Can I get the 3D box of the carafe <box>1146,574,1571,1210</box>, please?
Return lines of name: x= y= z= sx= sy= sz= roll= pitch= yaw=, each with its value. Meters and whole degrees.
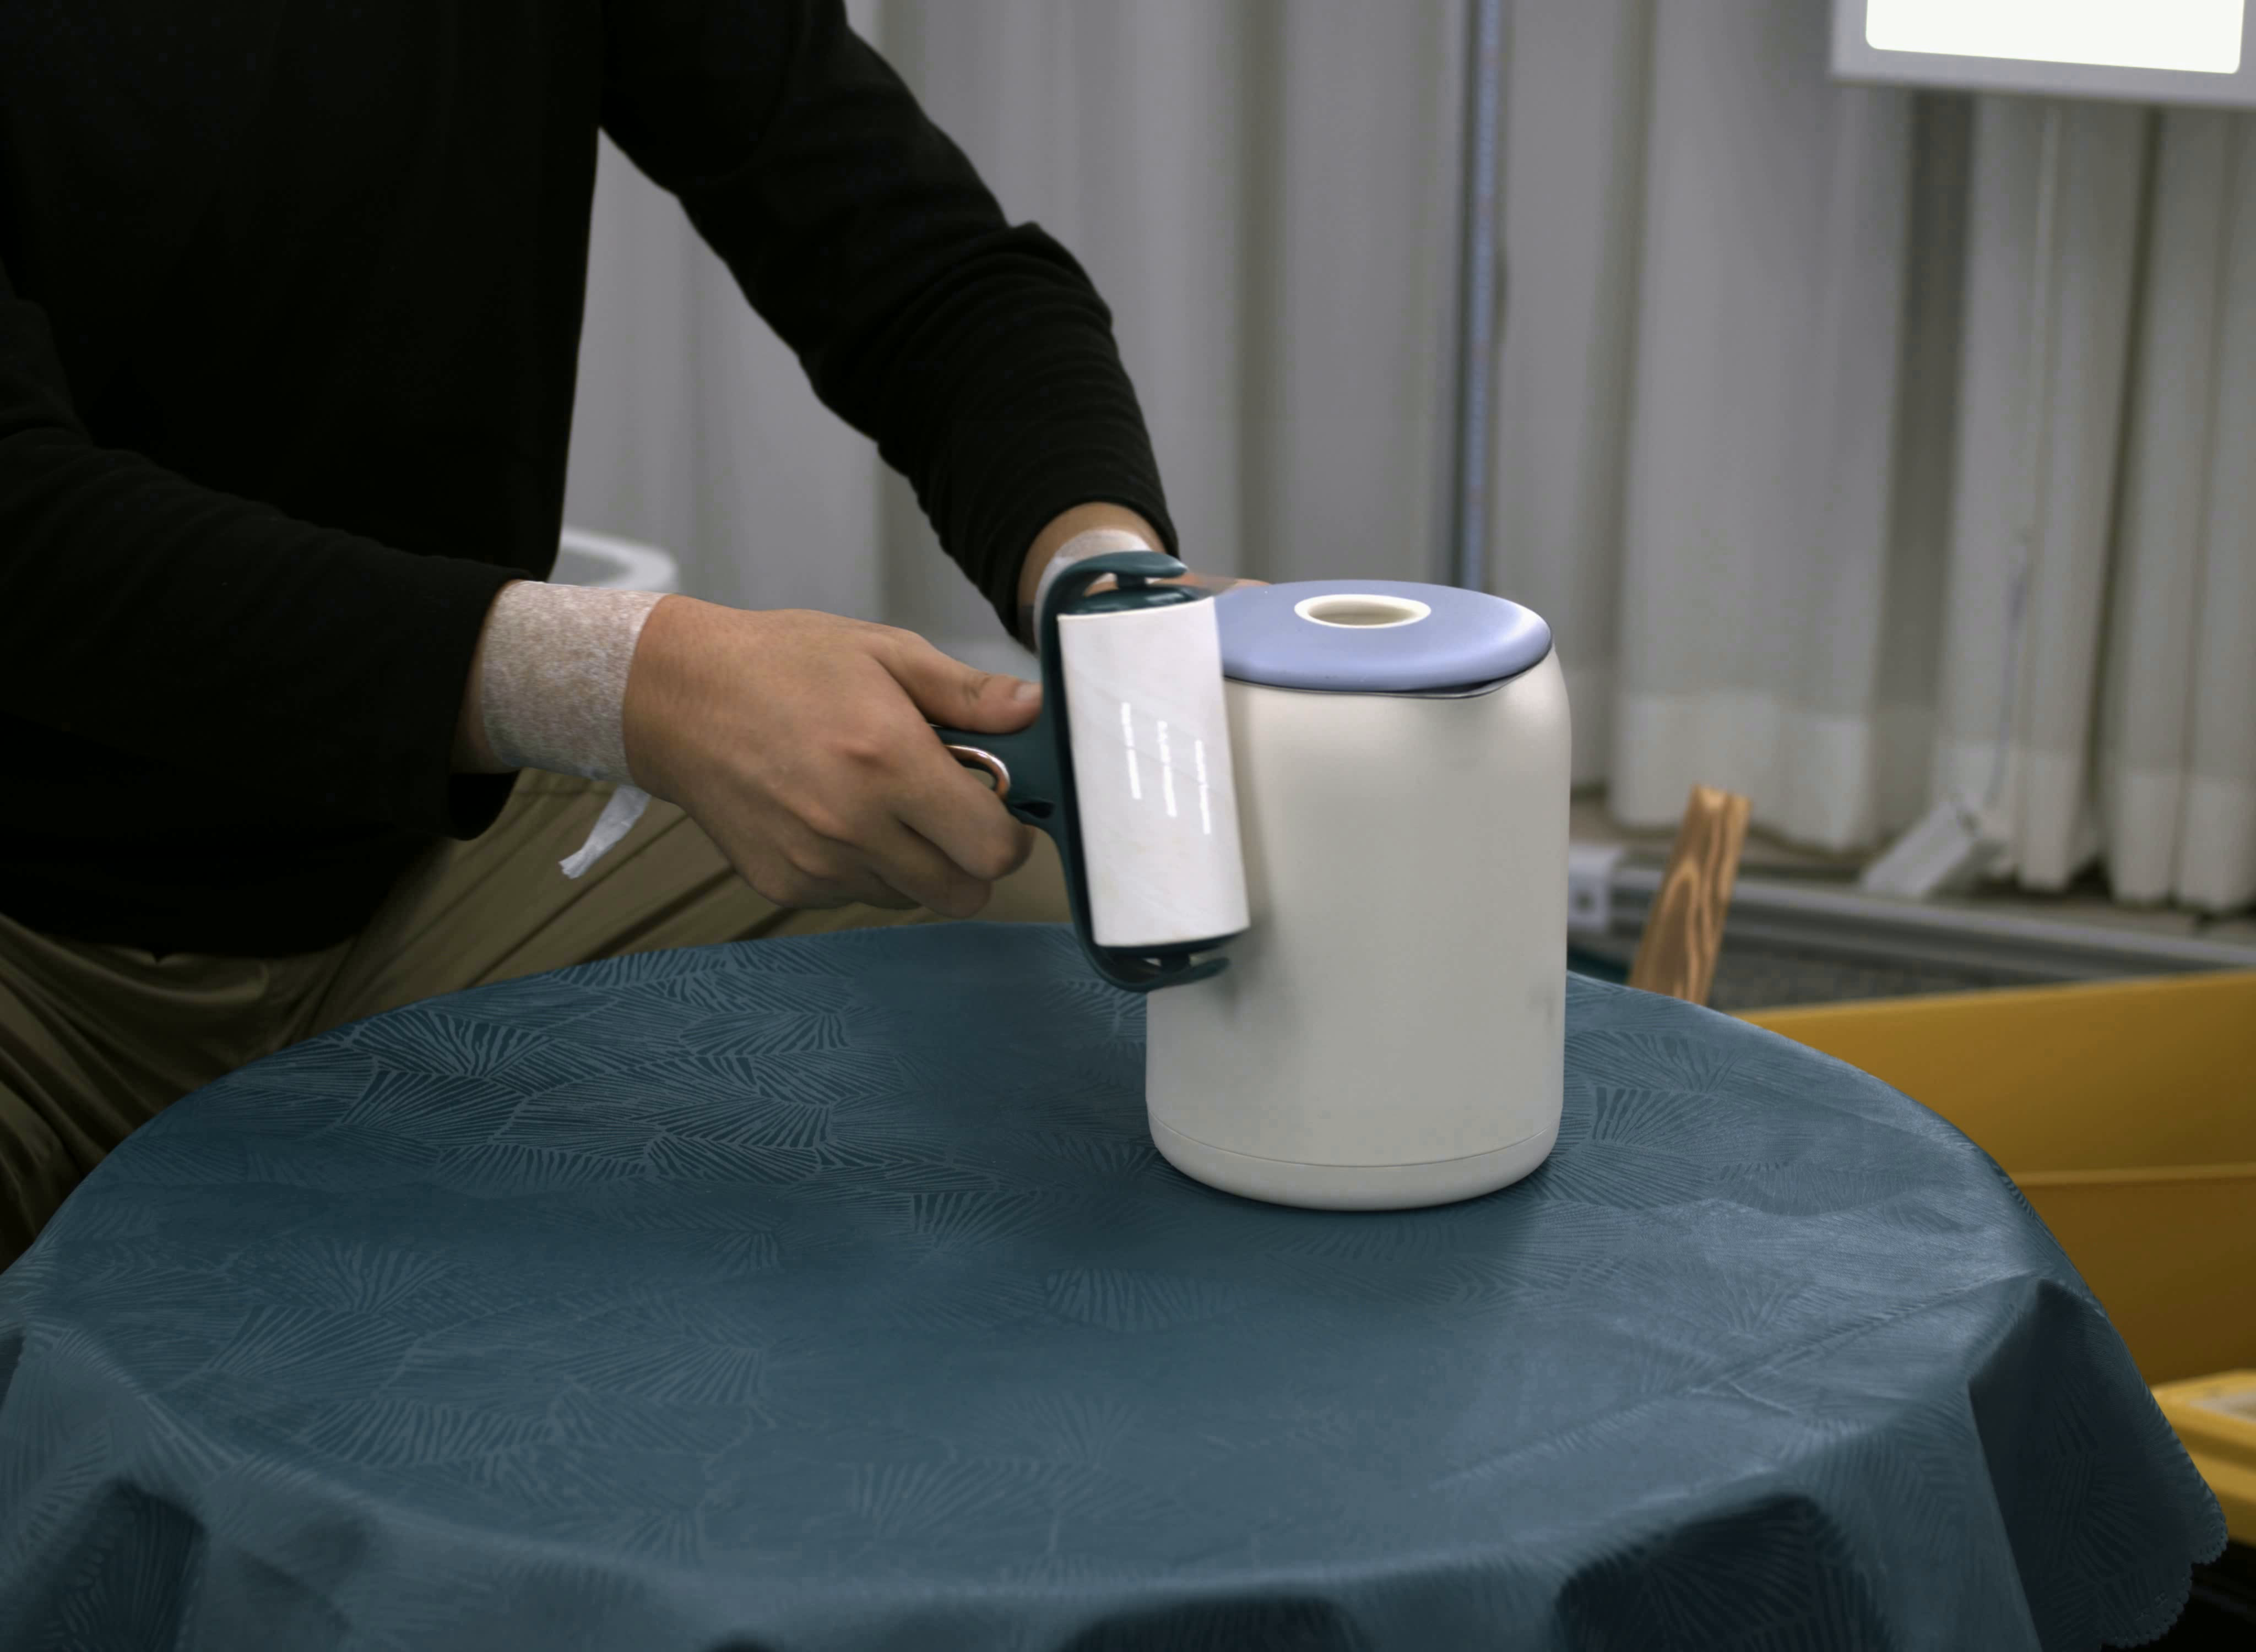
carafe: x=0.060 y=0.014 z=1.656 sx=0.133 sy=0.184 sz=0.189 roll=-8 pitch=16 yaw=-27

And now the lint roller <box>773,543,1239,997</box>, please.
lint roller: x=-0.050 y=-0.013 z=1.600 sx=0.178 sy=0.135 sz=0.048 roll=-4 pitch=6 yaw=34
